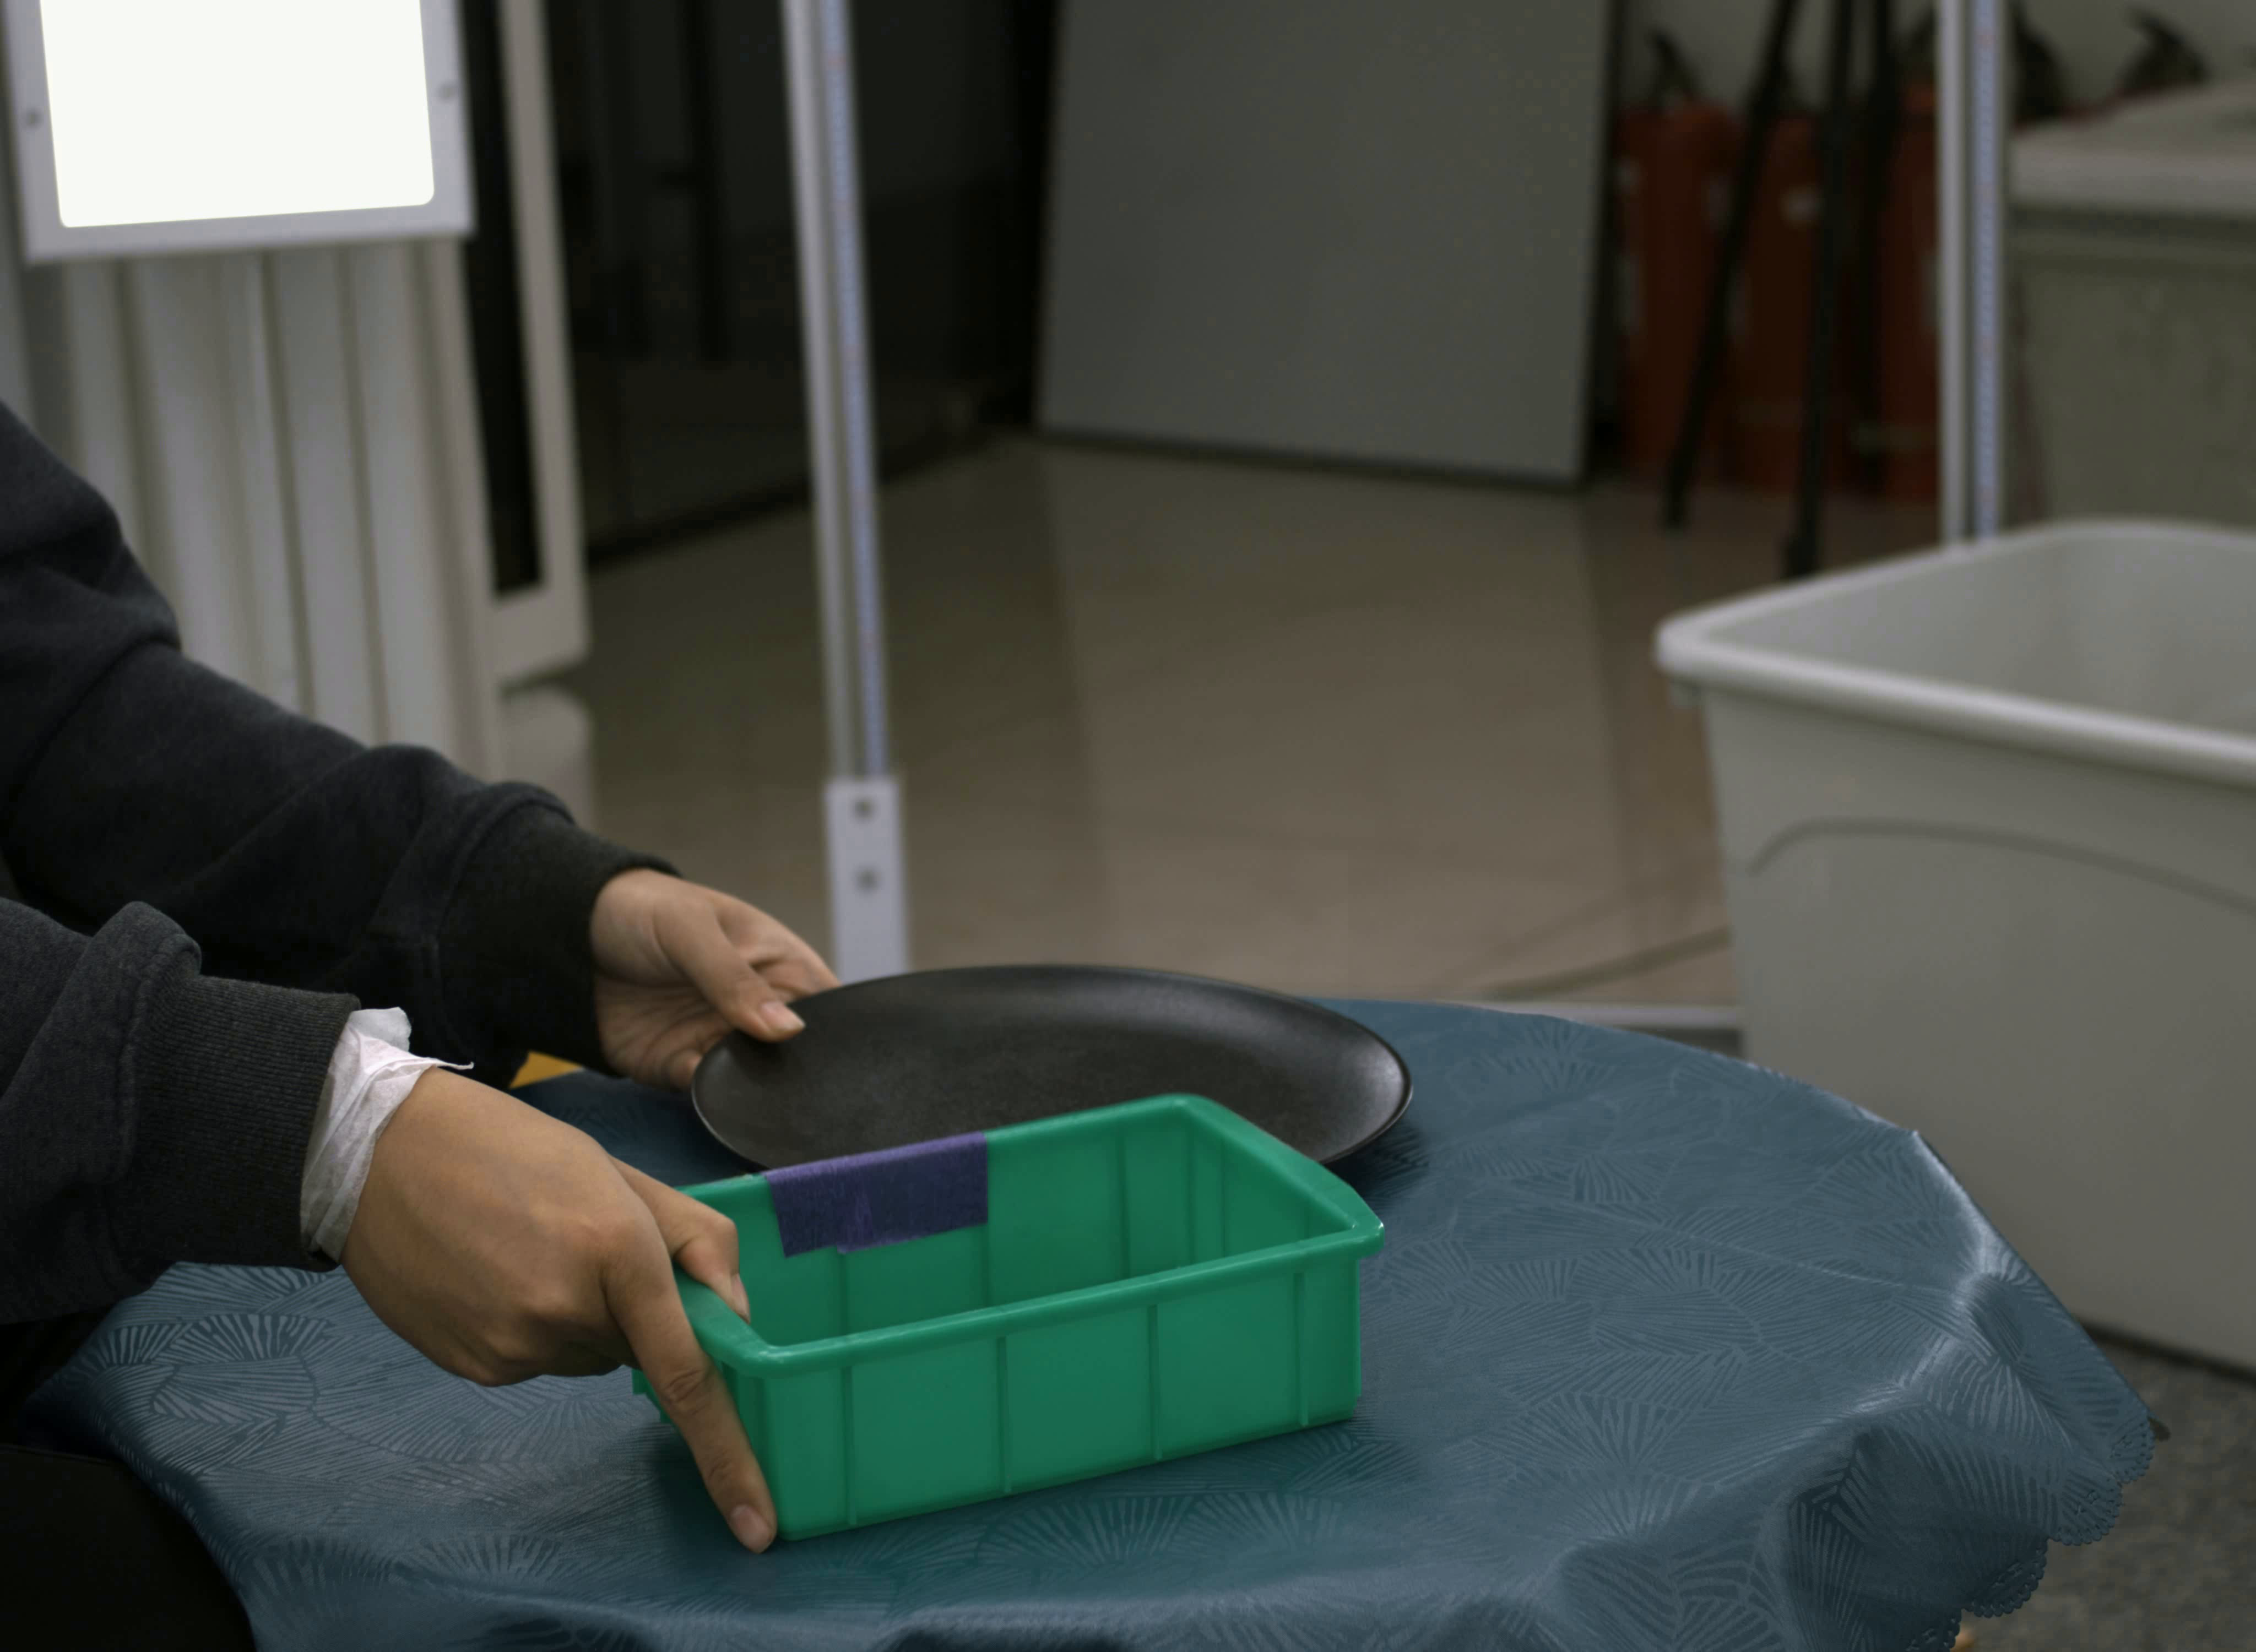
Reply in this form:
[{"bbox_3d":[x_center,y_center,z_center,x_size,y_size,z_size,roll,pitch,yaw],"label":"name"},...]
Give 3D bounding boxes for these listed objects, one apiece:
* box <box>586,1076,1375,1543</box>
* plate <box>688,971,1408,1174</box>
[{"bbox_3d":[-0.041,0.138,1.555,0.206,0.066,0.140,-12,18,-22],"label":"box"},{"bbox_3d":[-0.026,0.096,1.804,0.241,0.024,0.245,-1,17,-1],"label":"plate"}]
